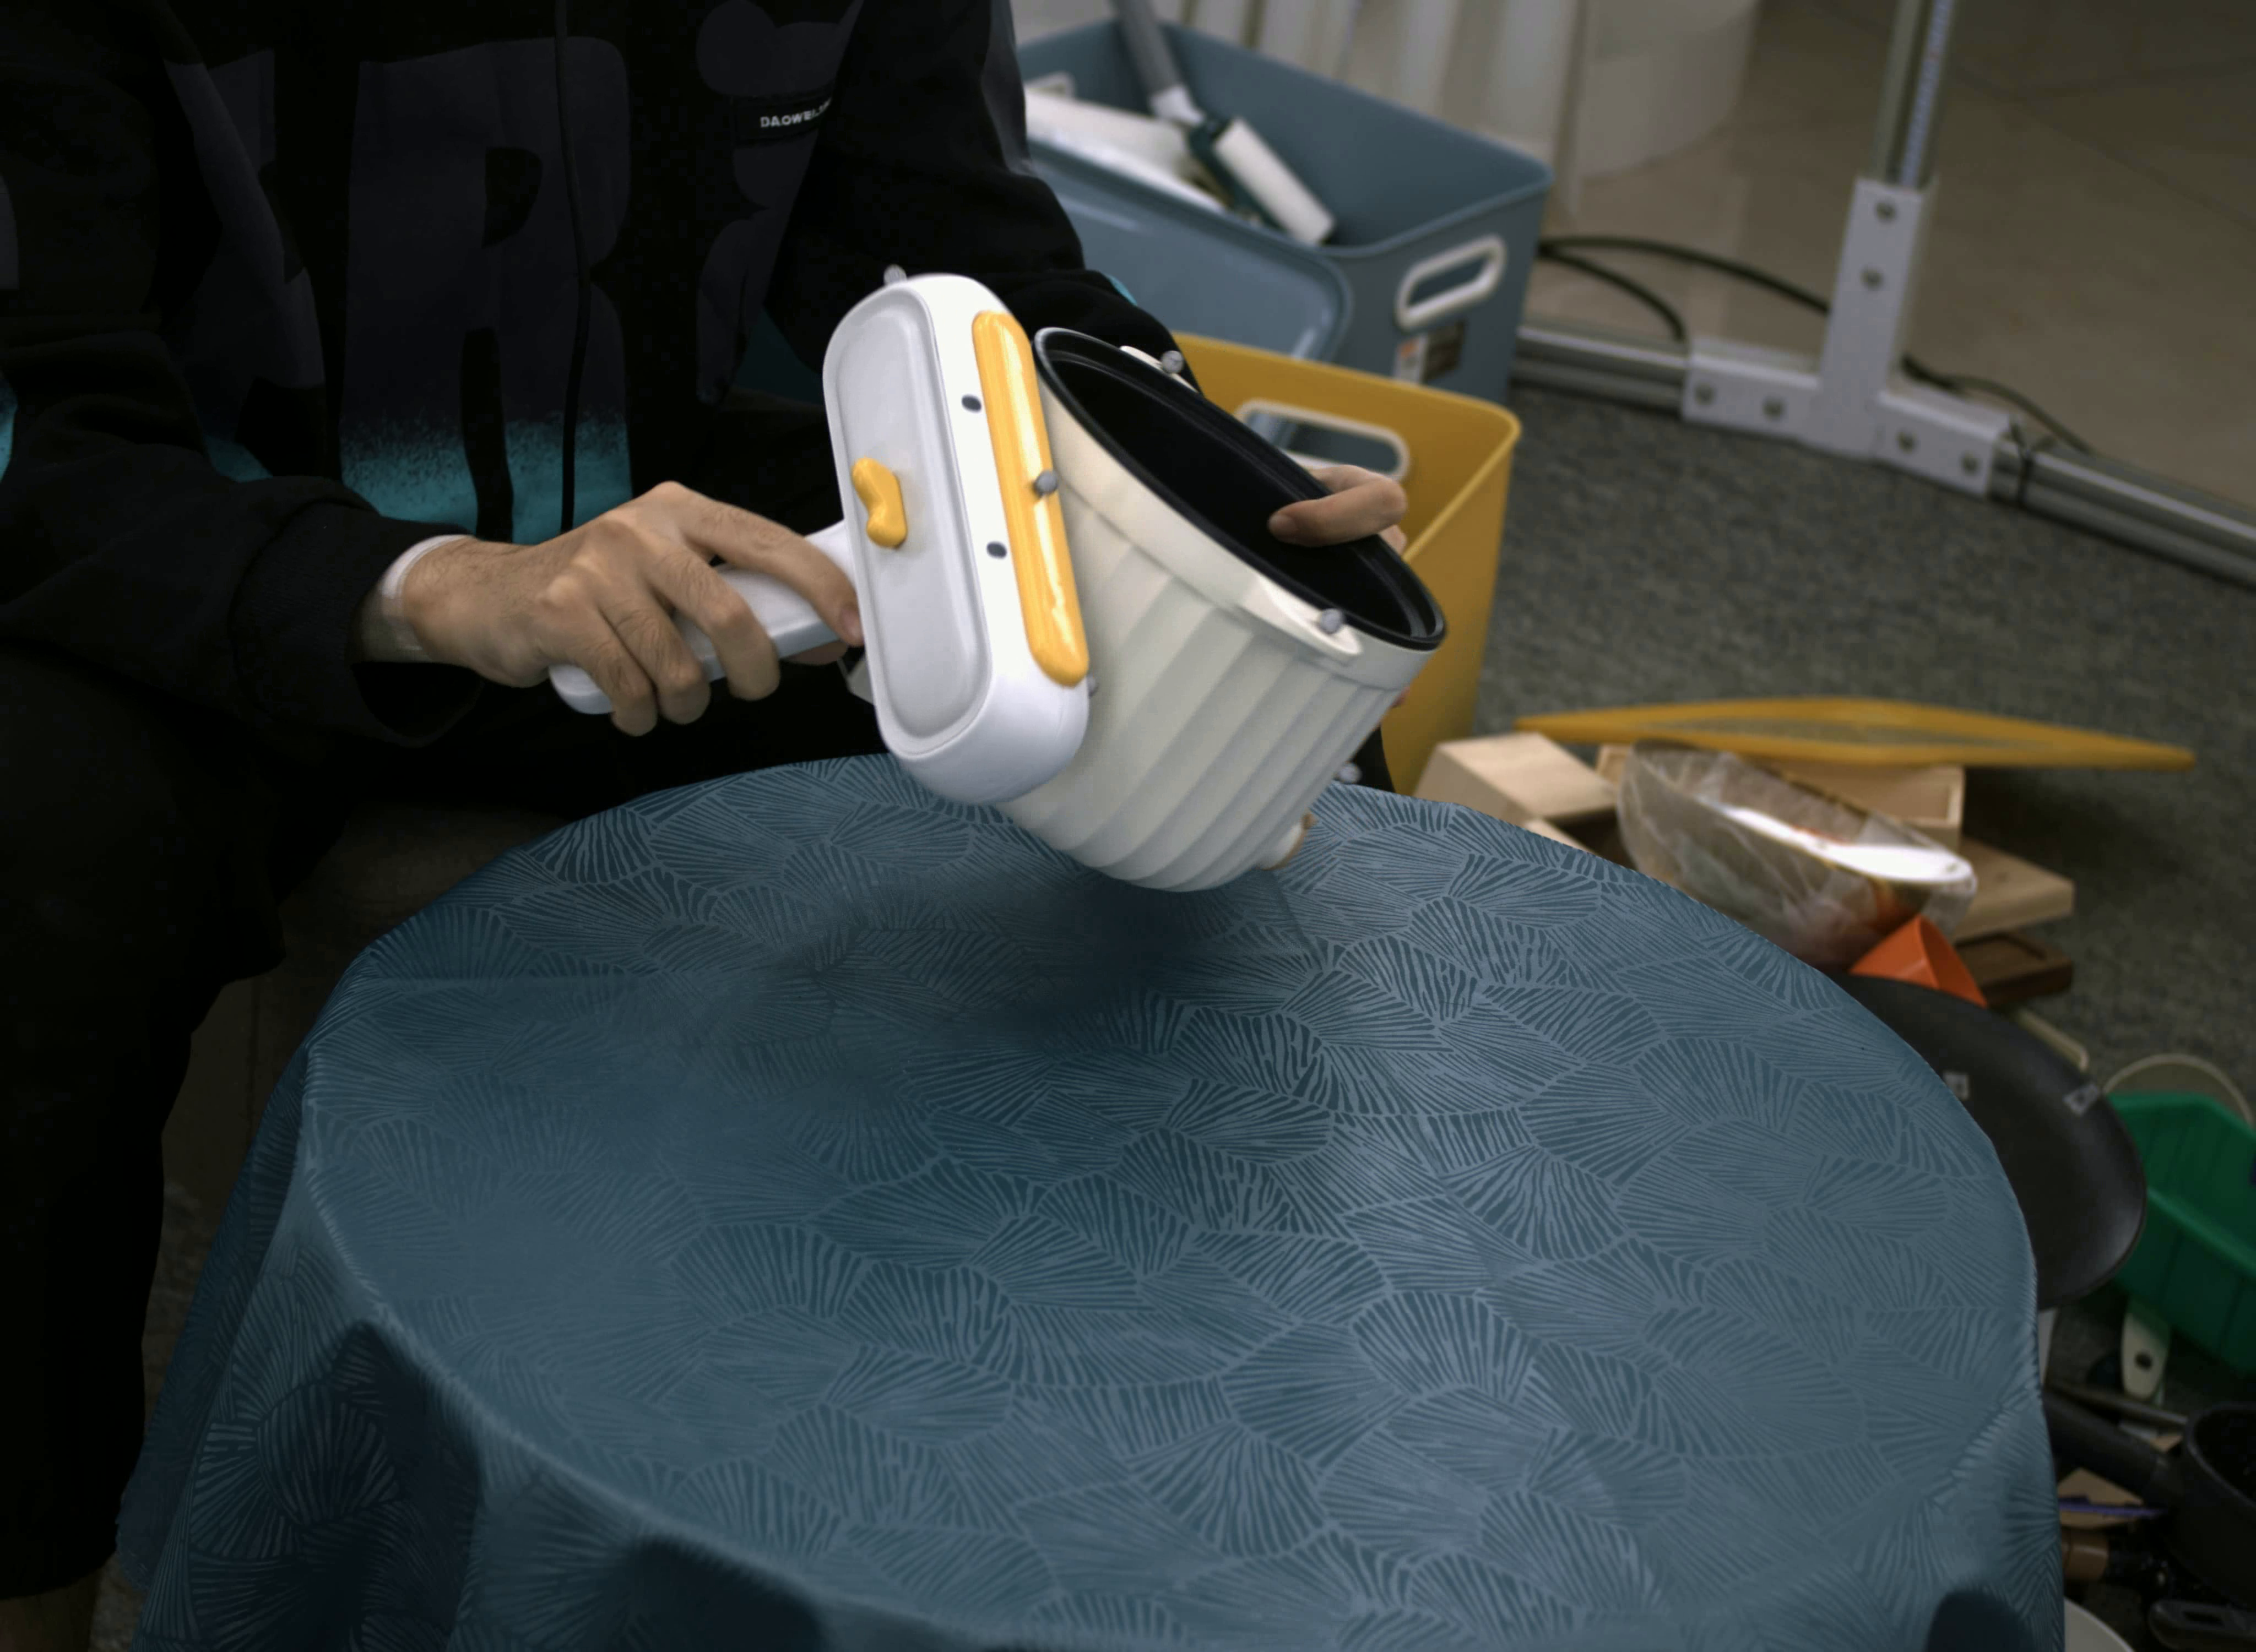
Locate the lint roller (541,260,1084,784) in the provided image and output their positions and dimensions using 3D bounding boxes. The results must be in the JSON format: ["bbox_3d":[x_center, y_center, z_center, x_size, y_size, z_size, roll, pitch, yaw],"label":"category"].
[{"bbox_3d":[-0.114,-0.082,1.833,0.073,0.192,0.194,24,44,-54],"label":"lint roller"}]

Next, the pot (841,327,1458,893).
[{"bbox_3d":[0.010,-0.068,1.904,0.189,0.142,0.242,26,19,-27],"label":"pot"}]
